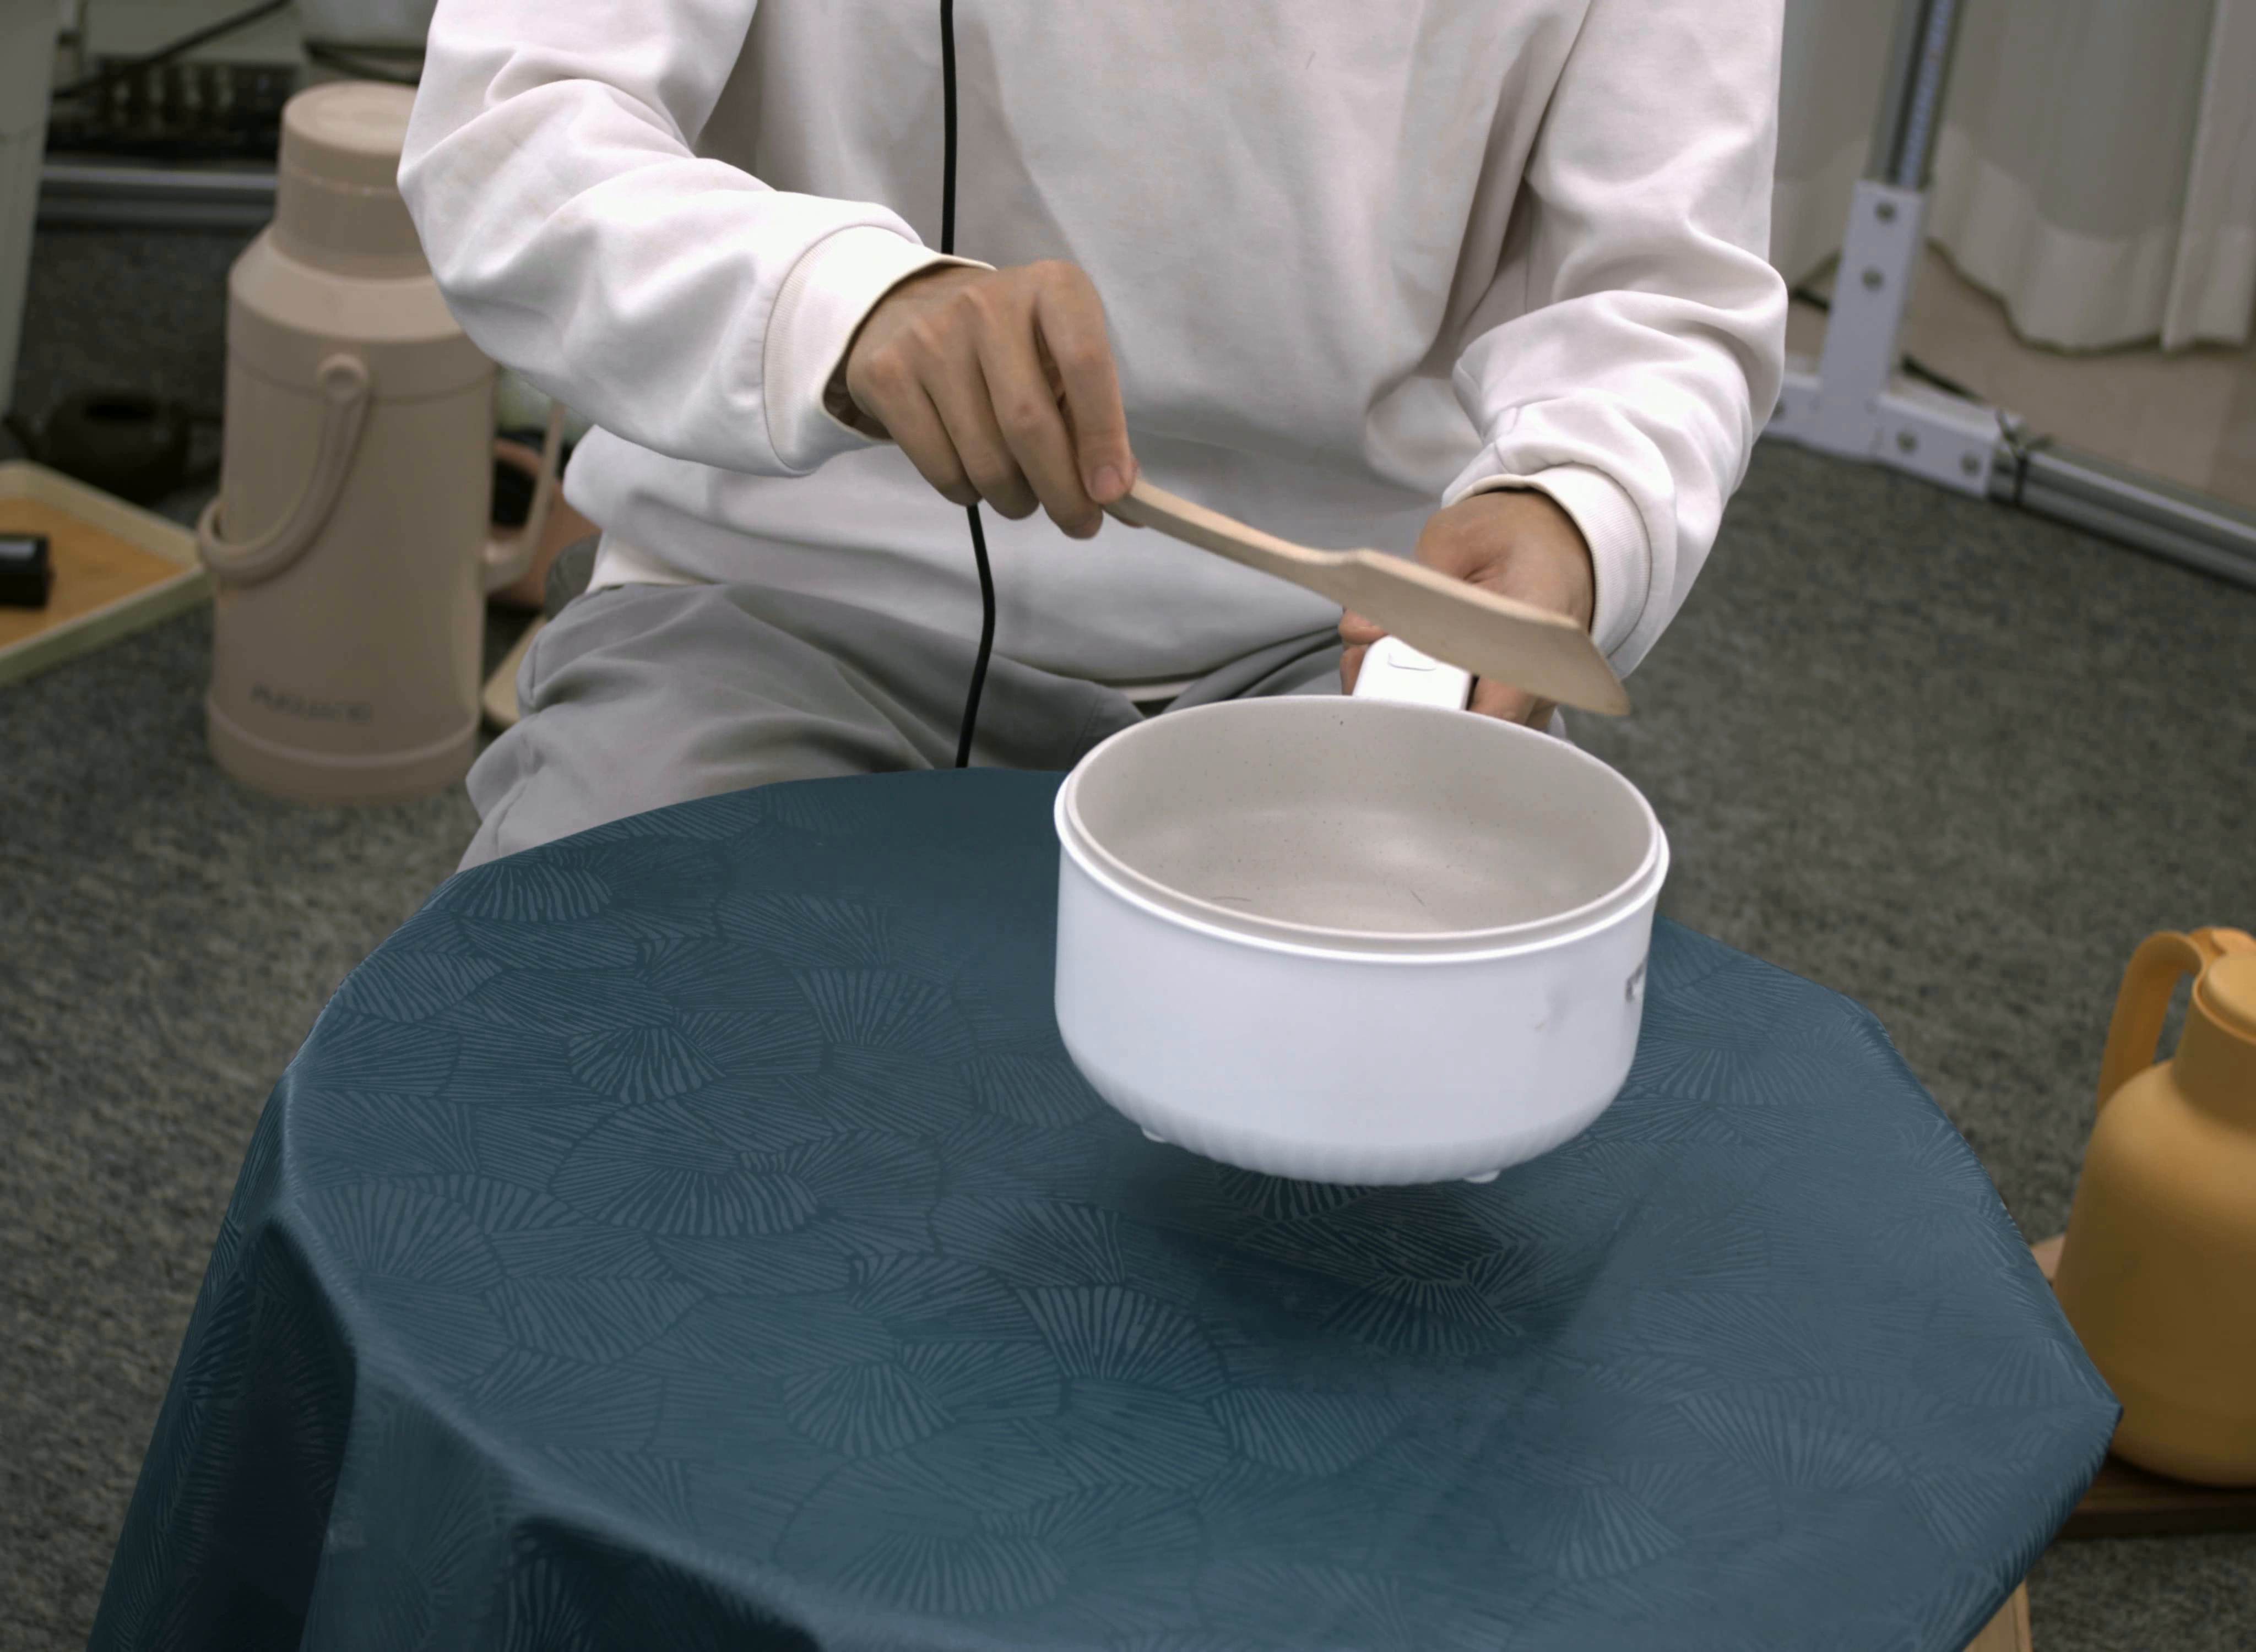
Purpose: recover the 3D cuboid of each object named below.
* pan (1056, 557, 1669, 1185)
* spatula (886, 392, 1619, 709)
[{"bbox_3d":[0.088,0.012,1.828,0.201,0.102,0.356,6,23,8],"label":"pan"},{"bbox_3d":[0.034,-0.100,1.808,0.295,0.011,0.071,22,-15,30],"label":"spatula"}]
